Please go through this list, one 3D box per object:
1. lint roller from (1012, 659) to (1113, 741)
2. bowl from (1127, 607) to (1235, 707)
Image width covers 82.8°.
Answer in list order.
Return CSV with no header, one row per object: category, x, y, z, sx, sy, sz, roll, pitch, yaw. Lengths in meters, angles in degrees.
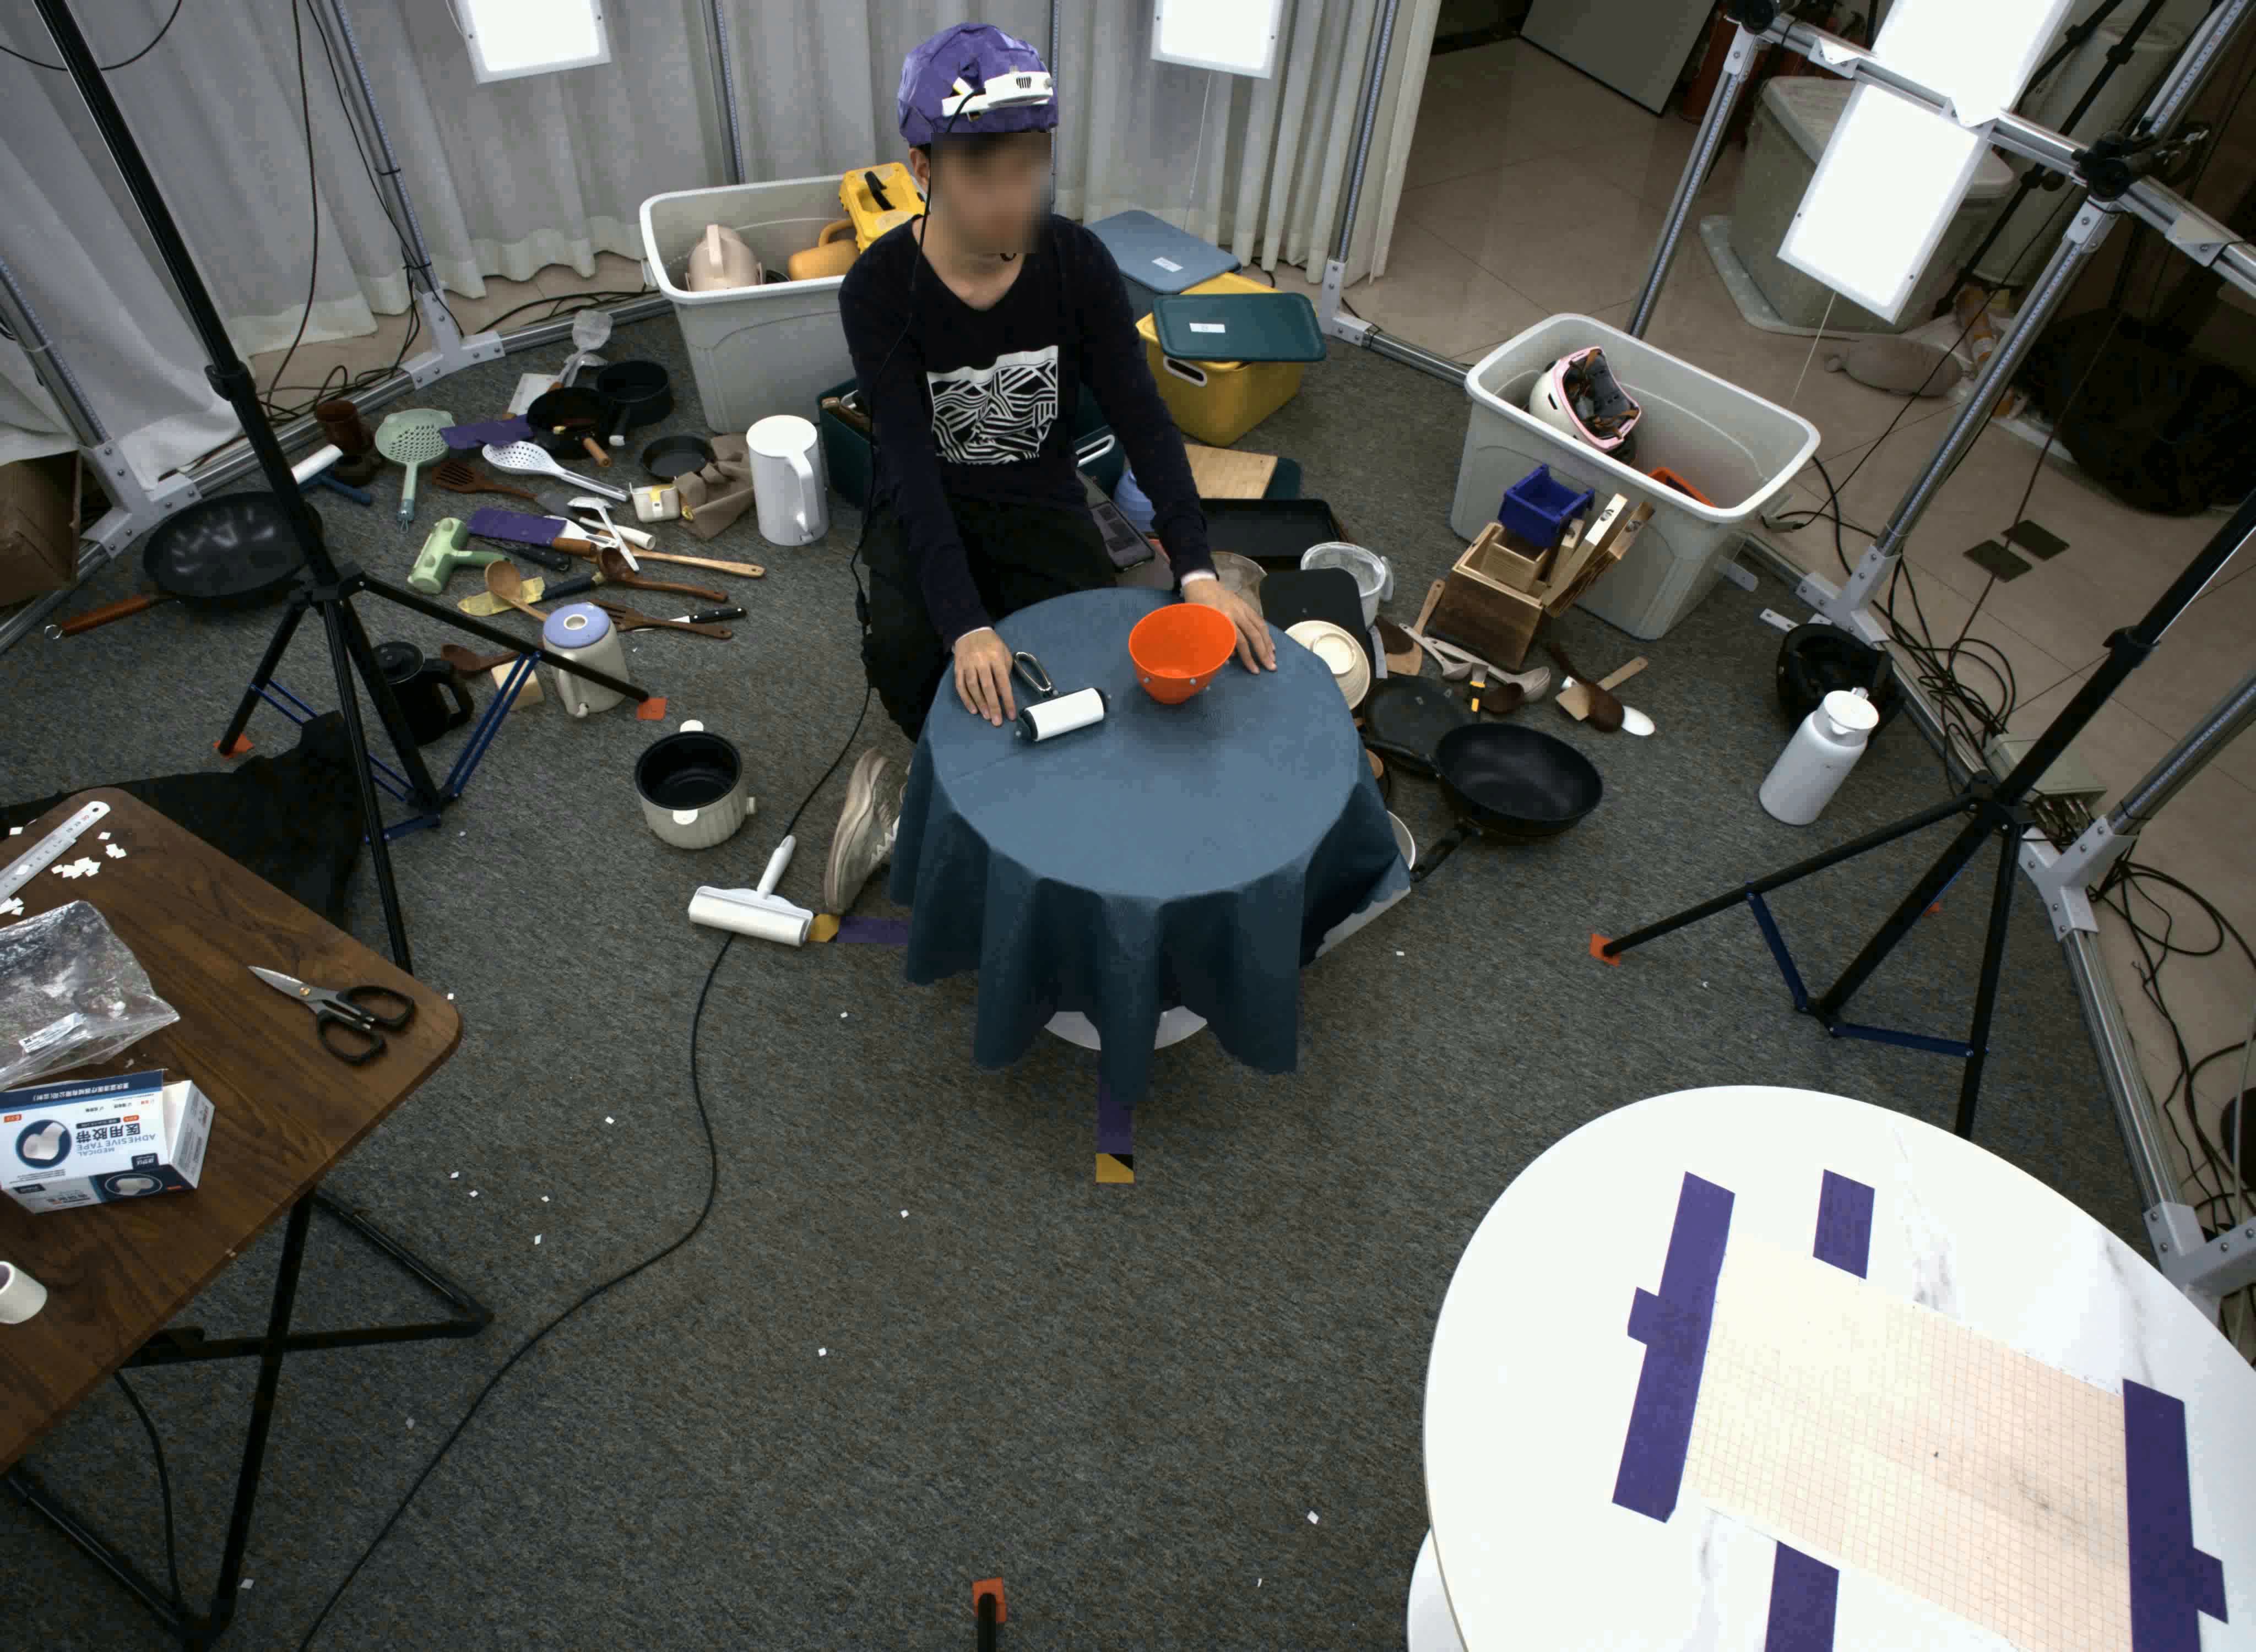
lint roller,-0.119,-0.198,1.807,0.134,0.047,0.184,-20,49,-19
bowl,0.072,-0.229,1.811,0.148,0.102,0.152,1,47,-2
